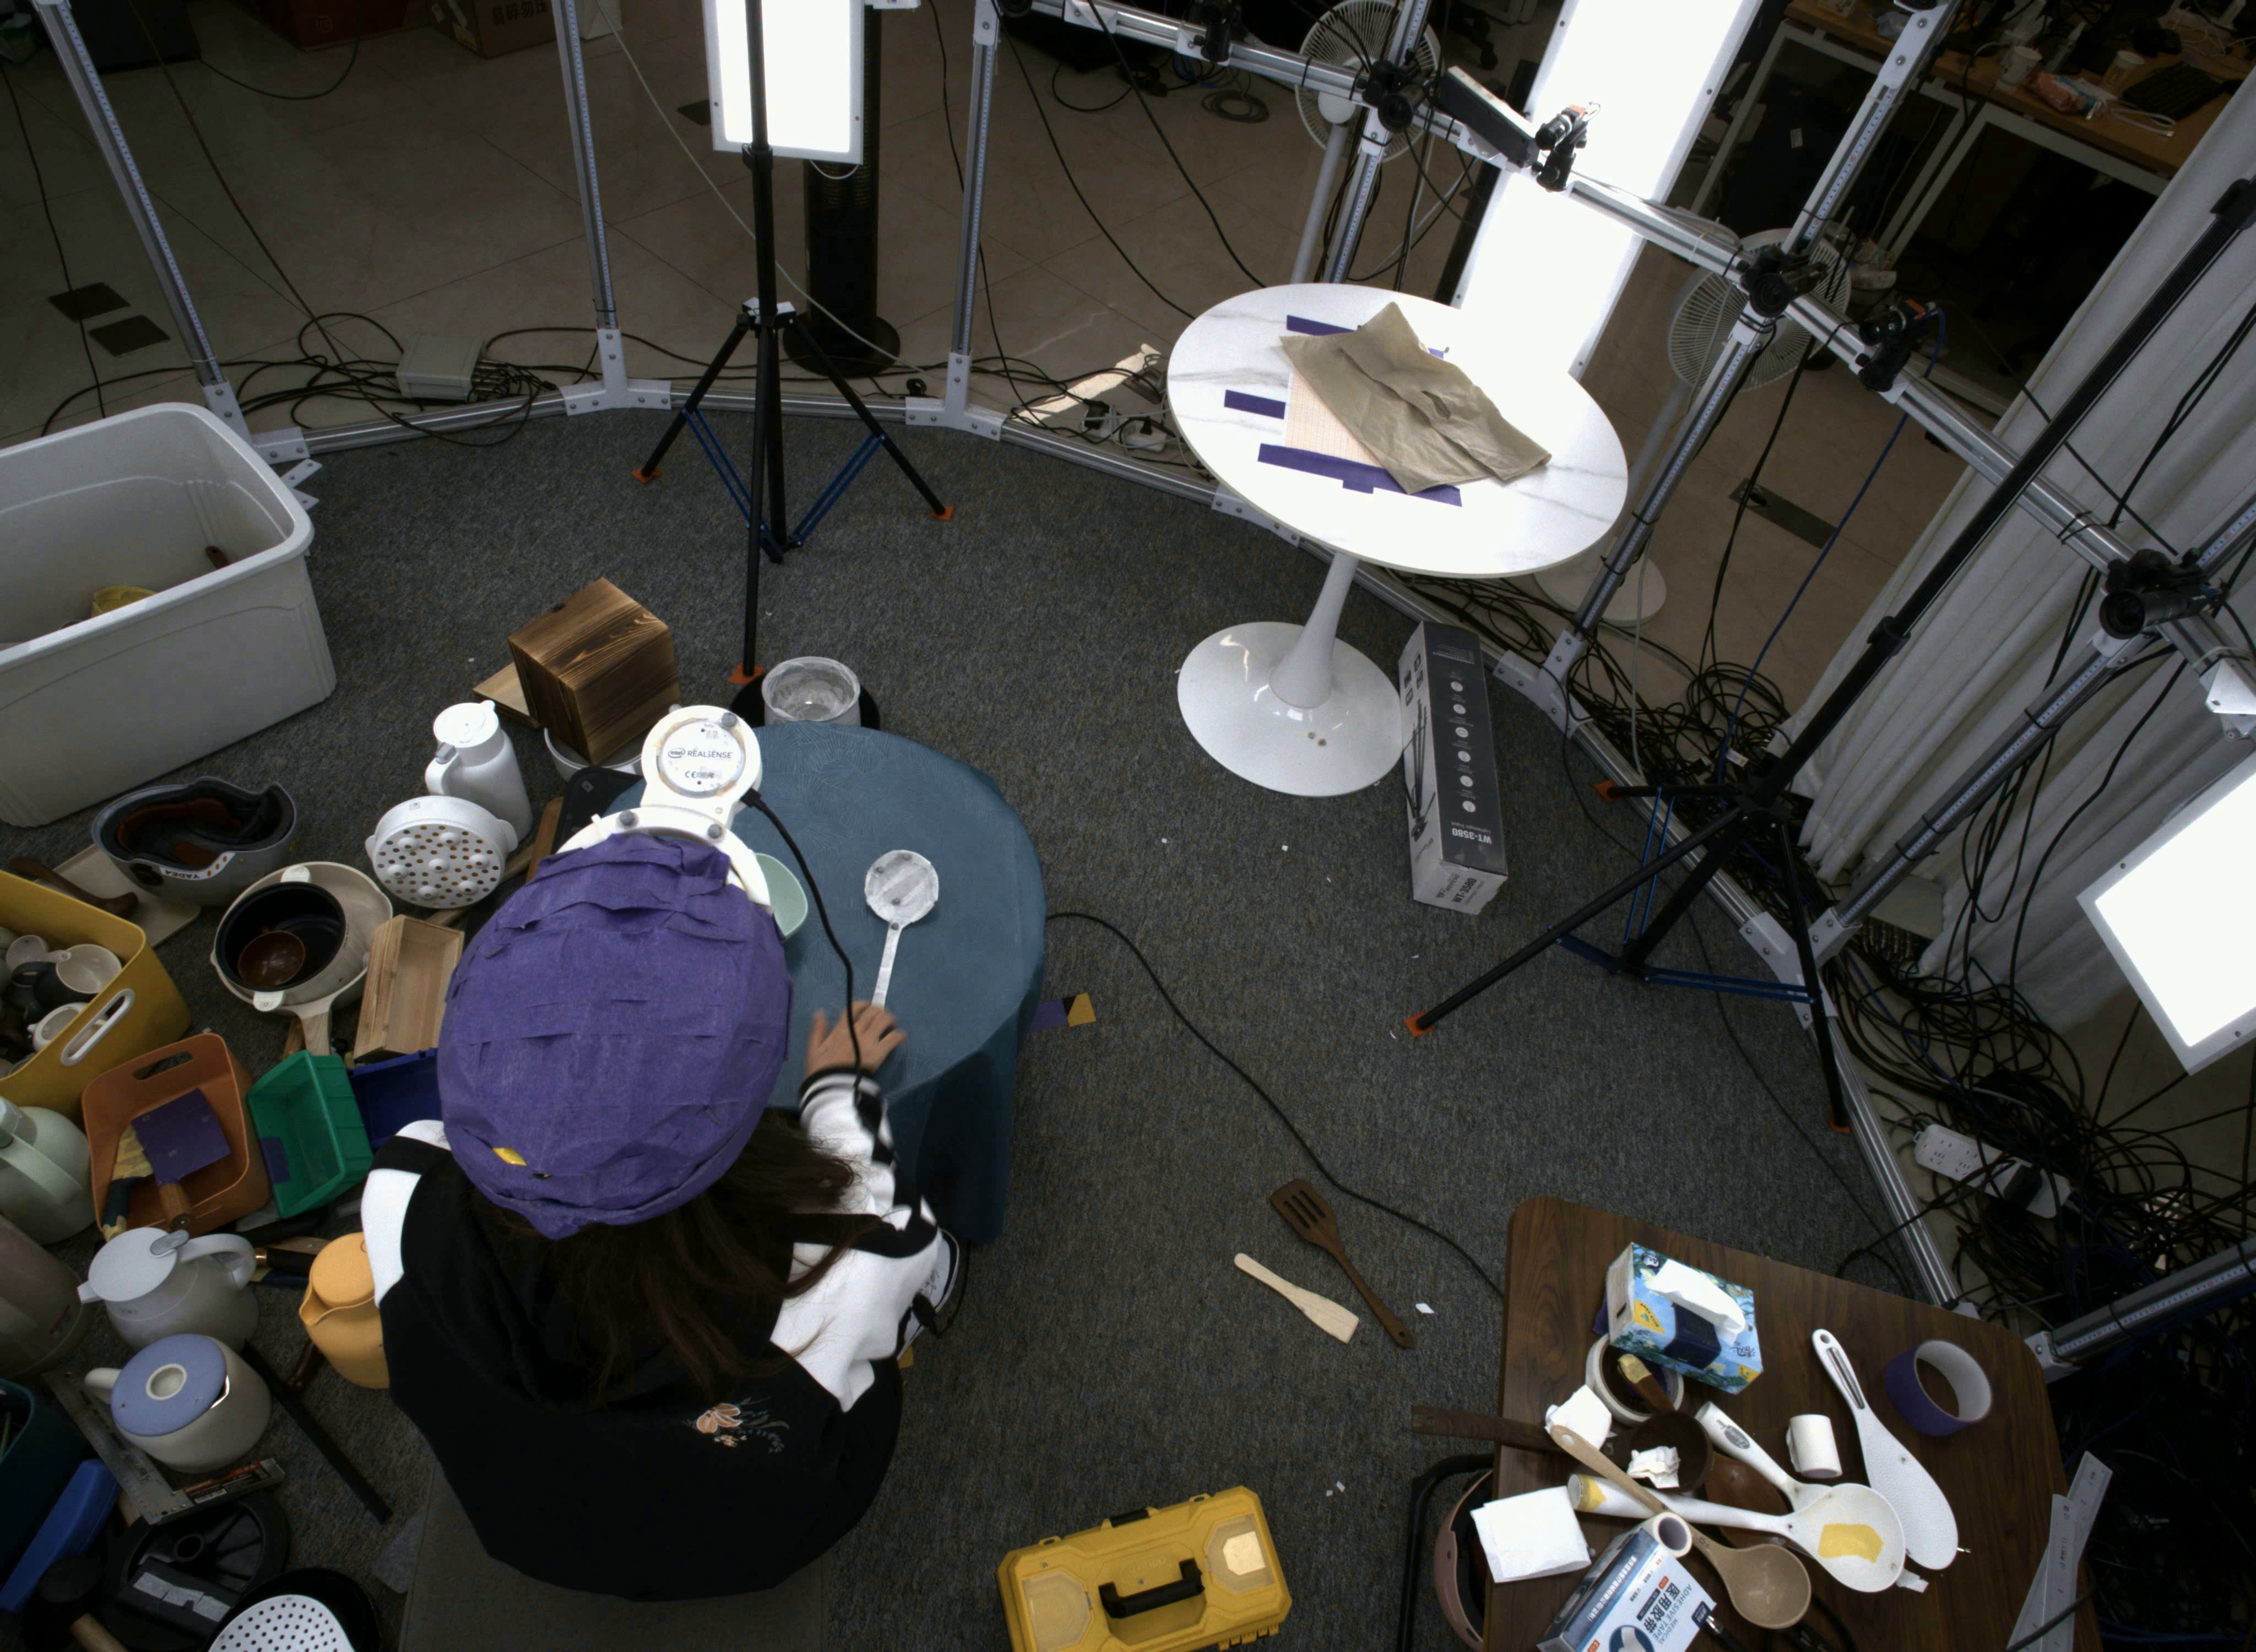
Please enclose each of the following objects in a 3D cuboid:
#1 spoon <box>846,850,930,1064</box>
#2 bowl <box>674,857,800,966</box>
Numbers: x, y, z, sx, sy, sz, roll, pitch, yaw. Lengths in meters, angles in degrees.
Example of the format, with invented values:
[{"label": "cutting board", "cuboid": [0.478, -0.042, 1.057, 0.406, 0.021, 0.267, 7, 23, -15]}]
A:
[{"label": "spoon", "cuboid": [-0.314, 0.154, 1.596, 0.099, 0.061, 0.273, 8, 52, 0]}, {"label": "bowl", "cuboid": [-0.478, 0.113, 1.586, 0.151, 0.060, 0.149, 8, 52, -8]}]
